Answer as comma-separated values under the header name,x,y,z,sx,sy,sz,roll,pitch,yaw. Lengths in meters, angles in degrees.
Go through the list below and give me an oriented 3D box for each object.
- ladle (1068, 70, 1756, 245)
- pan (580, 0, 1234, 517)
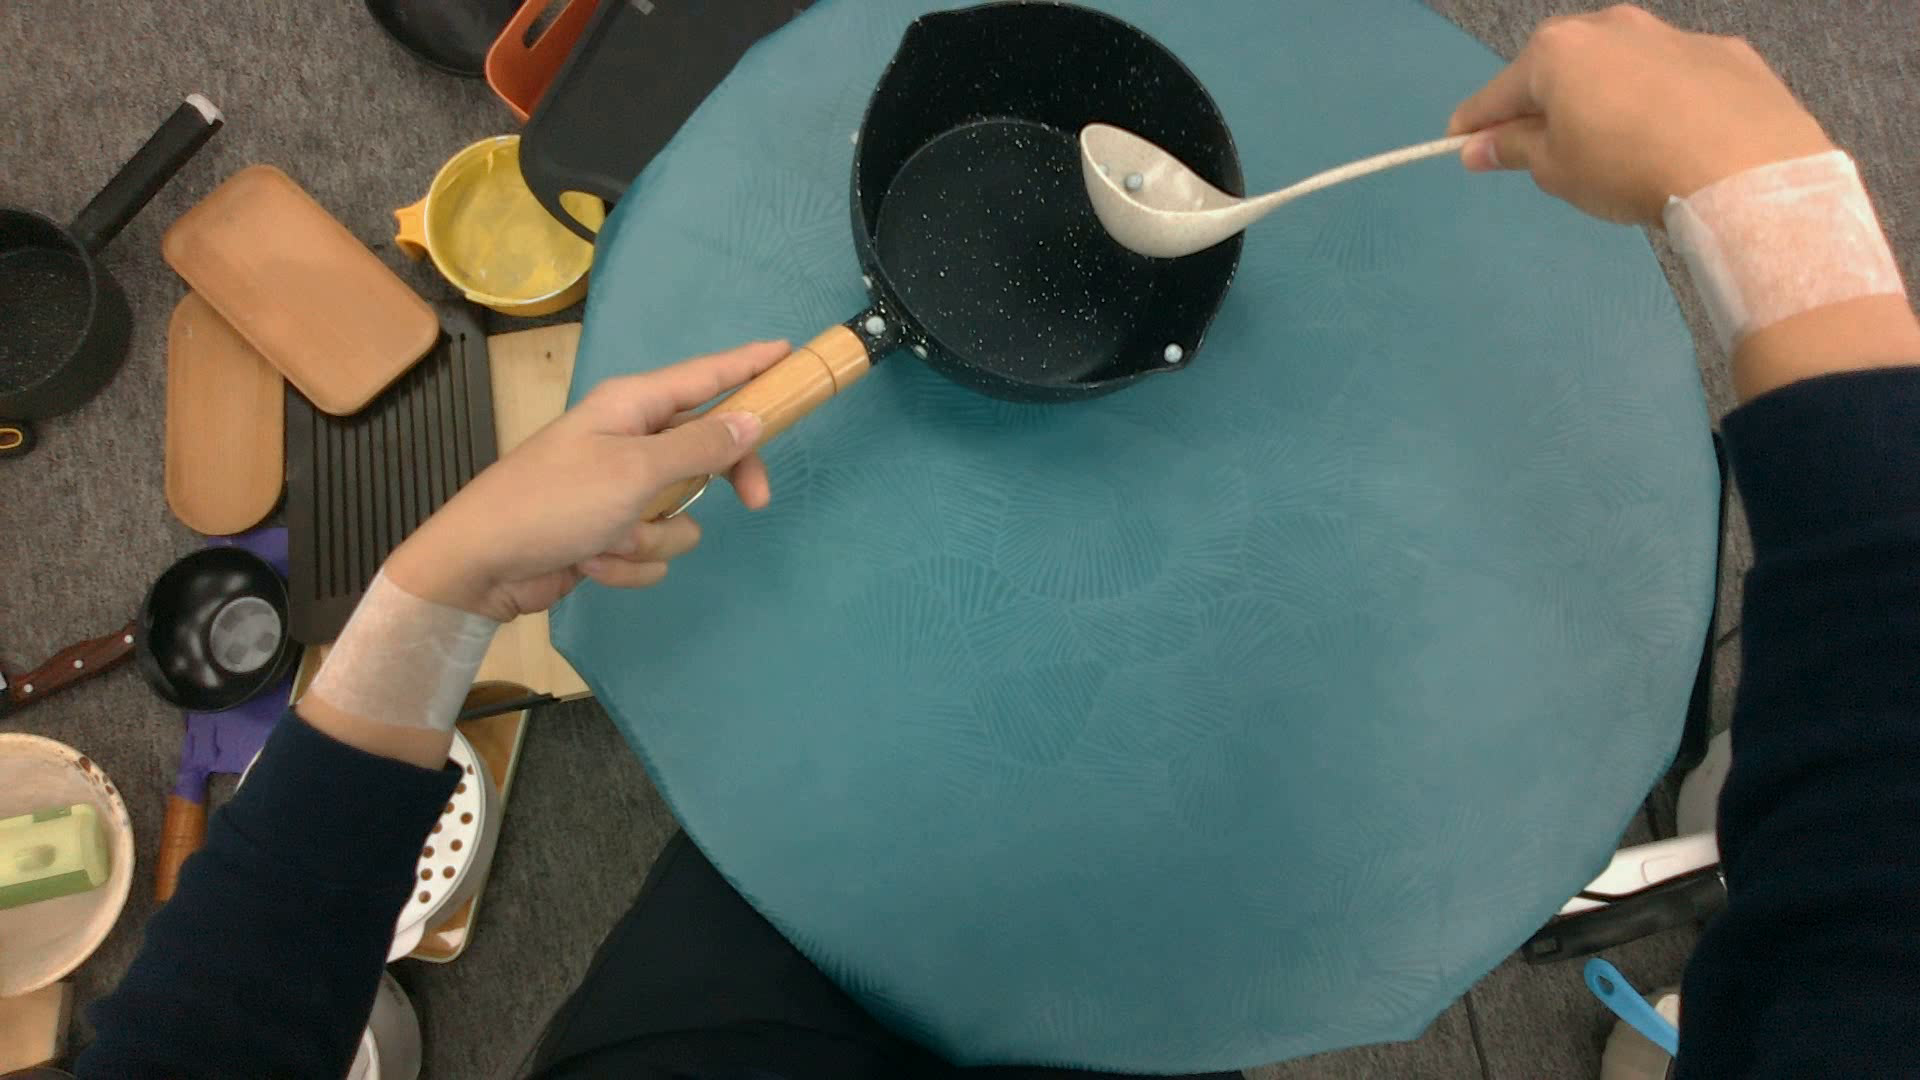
name,x,y,z,sx,sy,sz,roll,pitch,yaw
ladle,0.176,-0.186,0.584,0.274,0.090,0.069,-9,100,32
pan,-0.026,-0.111,0.636,0.344,0.108,0.207,-40,91,-16
